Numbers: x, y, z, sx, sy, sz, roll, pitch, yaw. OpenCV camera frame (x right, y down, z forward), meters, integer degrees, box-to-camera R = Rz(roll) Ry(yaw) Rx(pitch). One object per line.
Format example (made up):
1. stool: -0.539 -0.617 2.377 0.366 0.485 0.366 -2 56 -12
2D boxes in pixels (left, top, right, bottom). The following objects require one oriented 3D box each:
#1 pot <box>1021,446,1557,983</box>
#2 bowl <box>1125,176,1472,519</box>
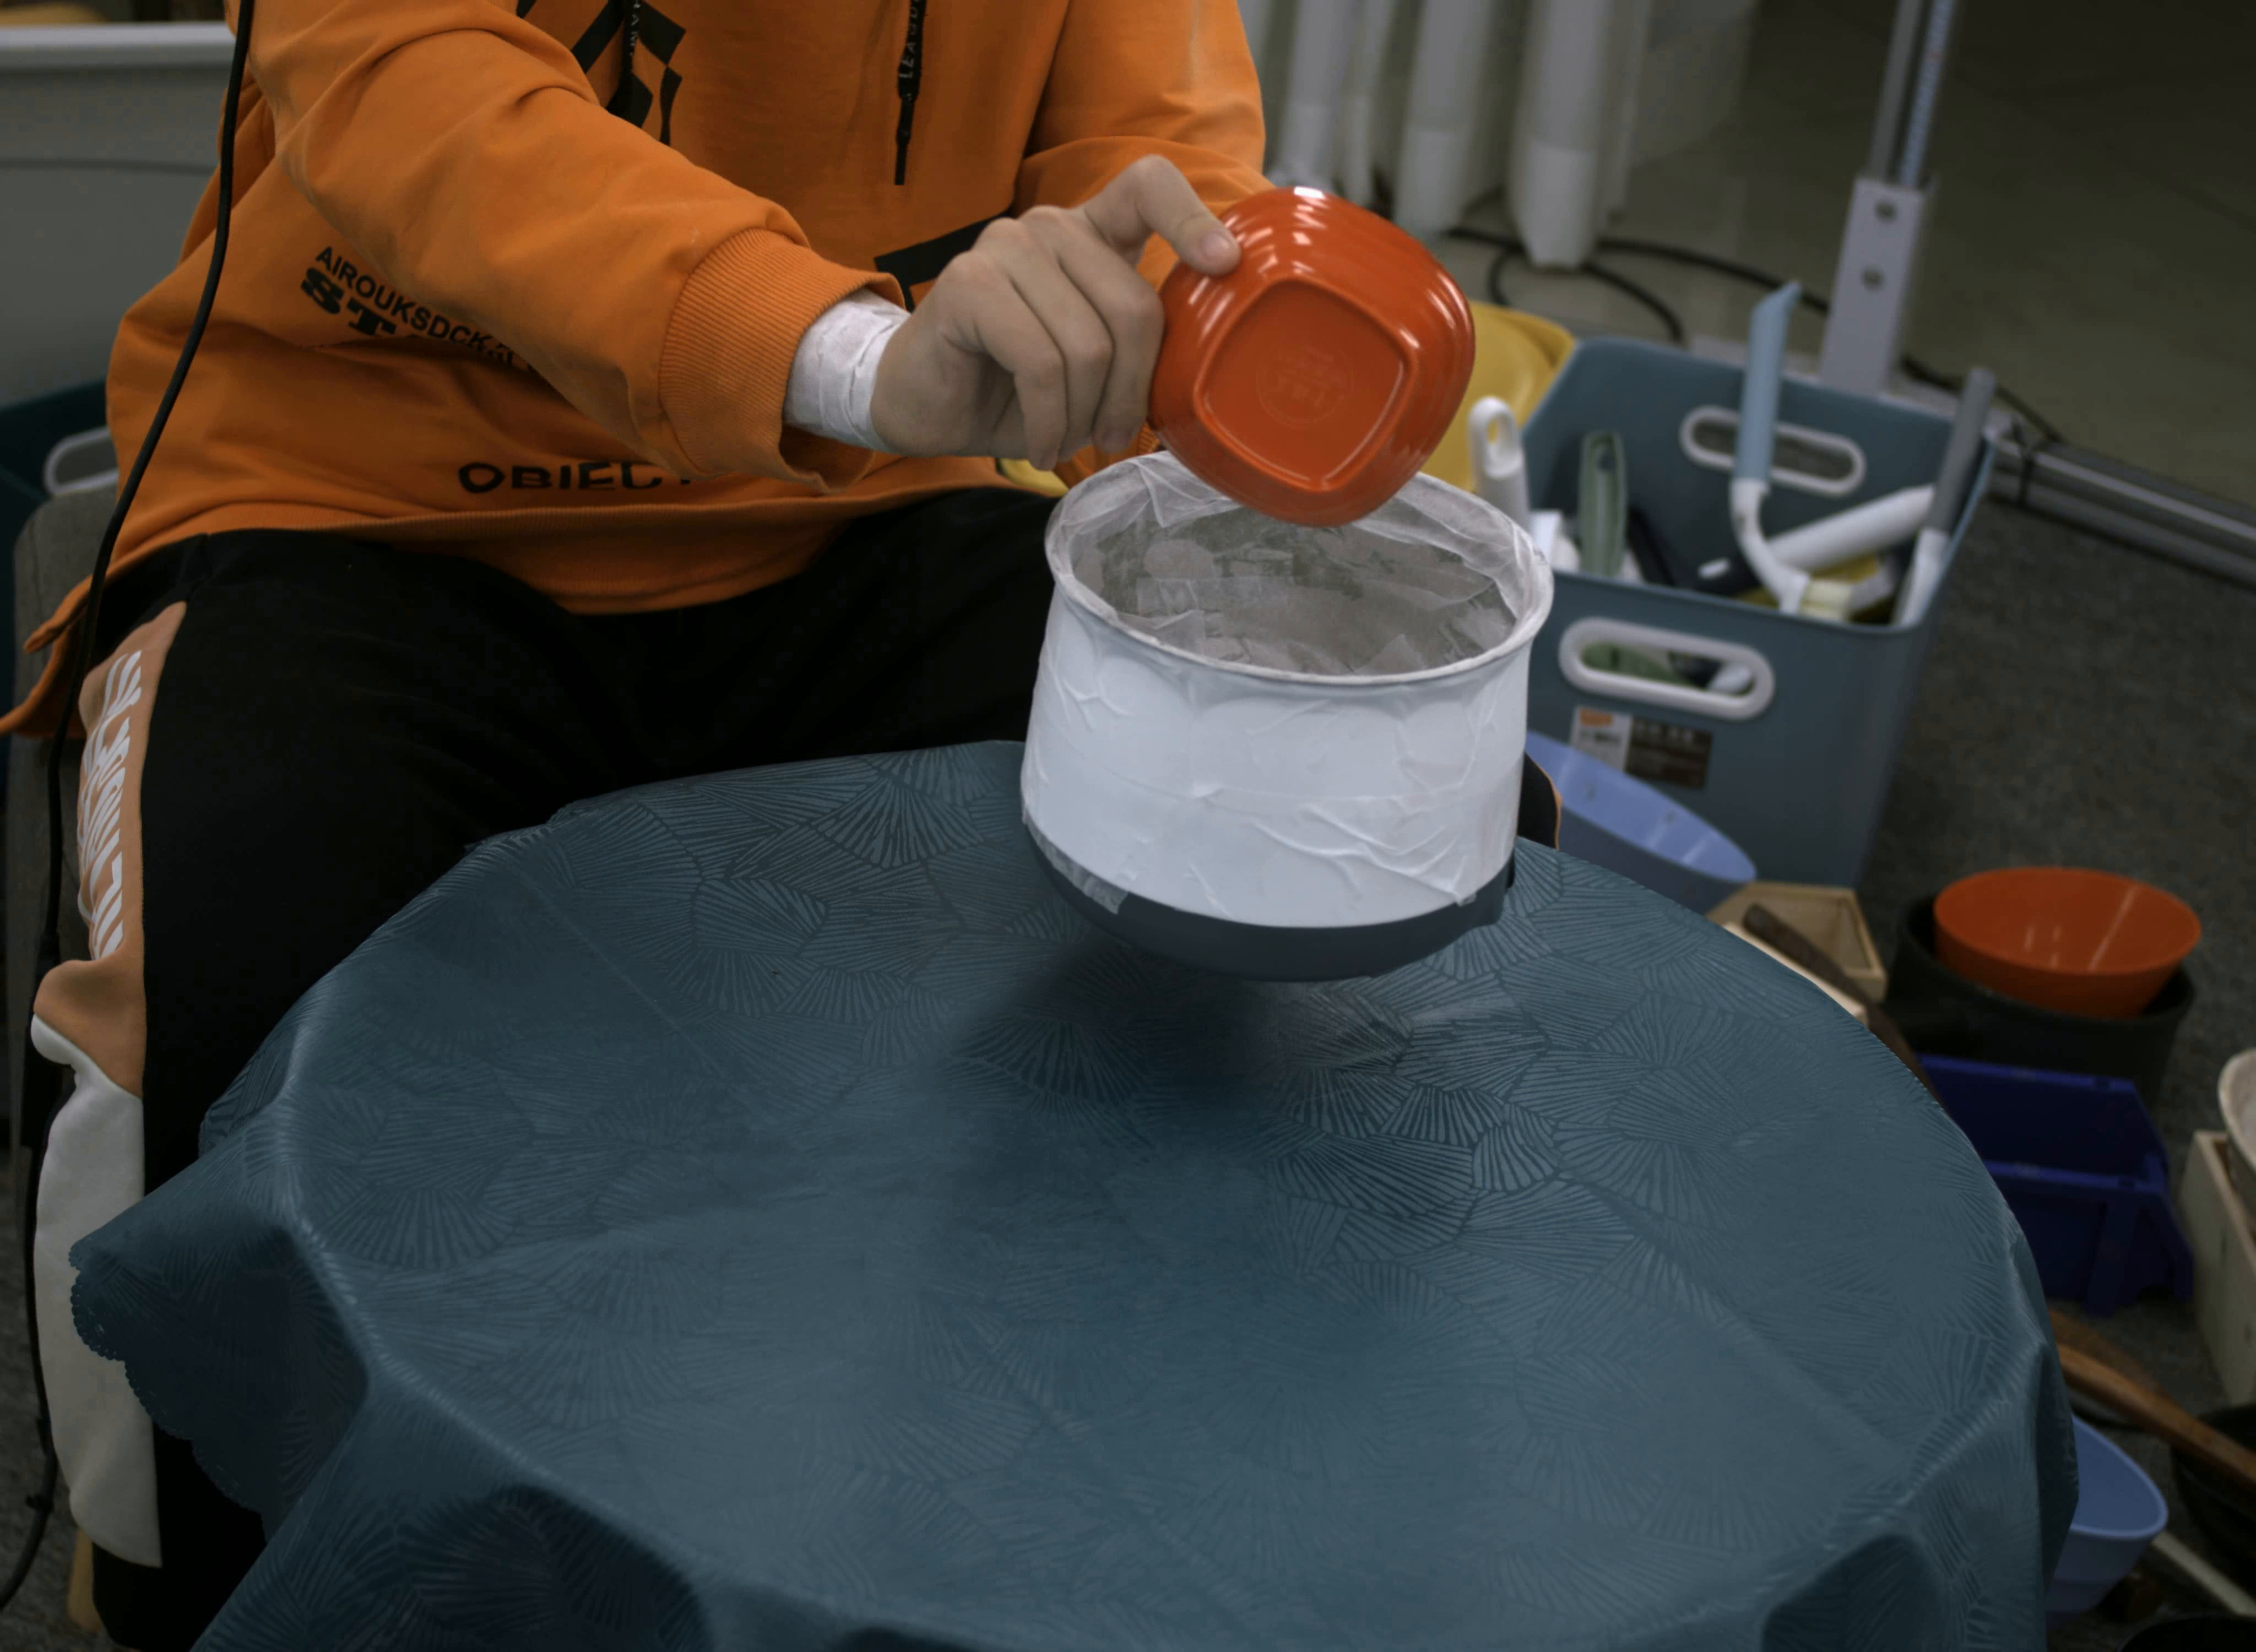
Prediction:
1. pot: 0.054 -0.052 1.885 0.178 0.136 0.235 6 30 -2
2. bowl: 0.057 -0.156 1.792 0.118 0.119 0.051 8 17 2
